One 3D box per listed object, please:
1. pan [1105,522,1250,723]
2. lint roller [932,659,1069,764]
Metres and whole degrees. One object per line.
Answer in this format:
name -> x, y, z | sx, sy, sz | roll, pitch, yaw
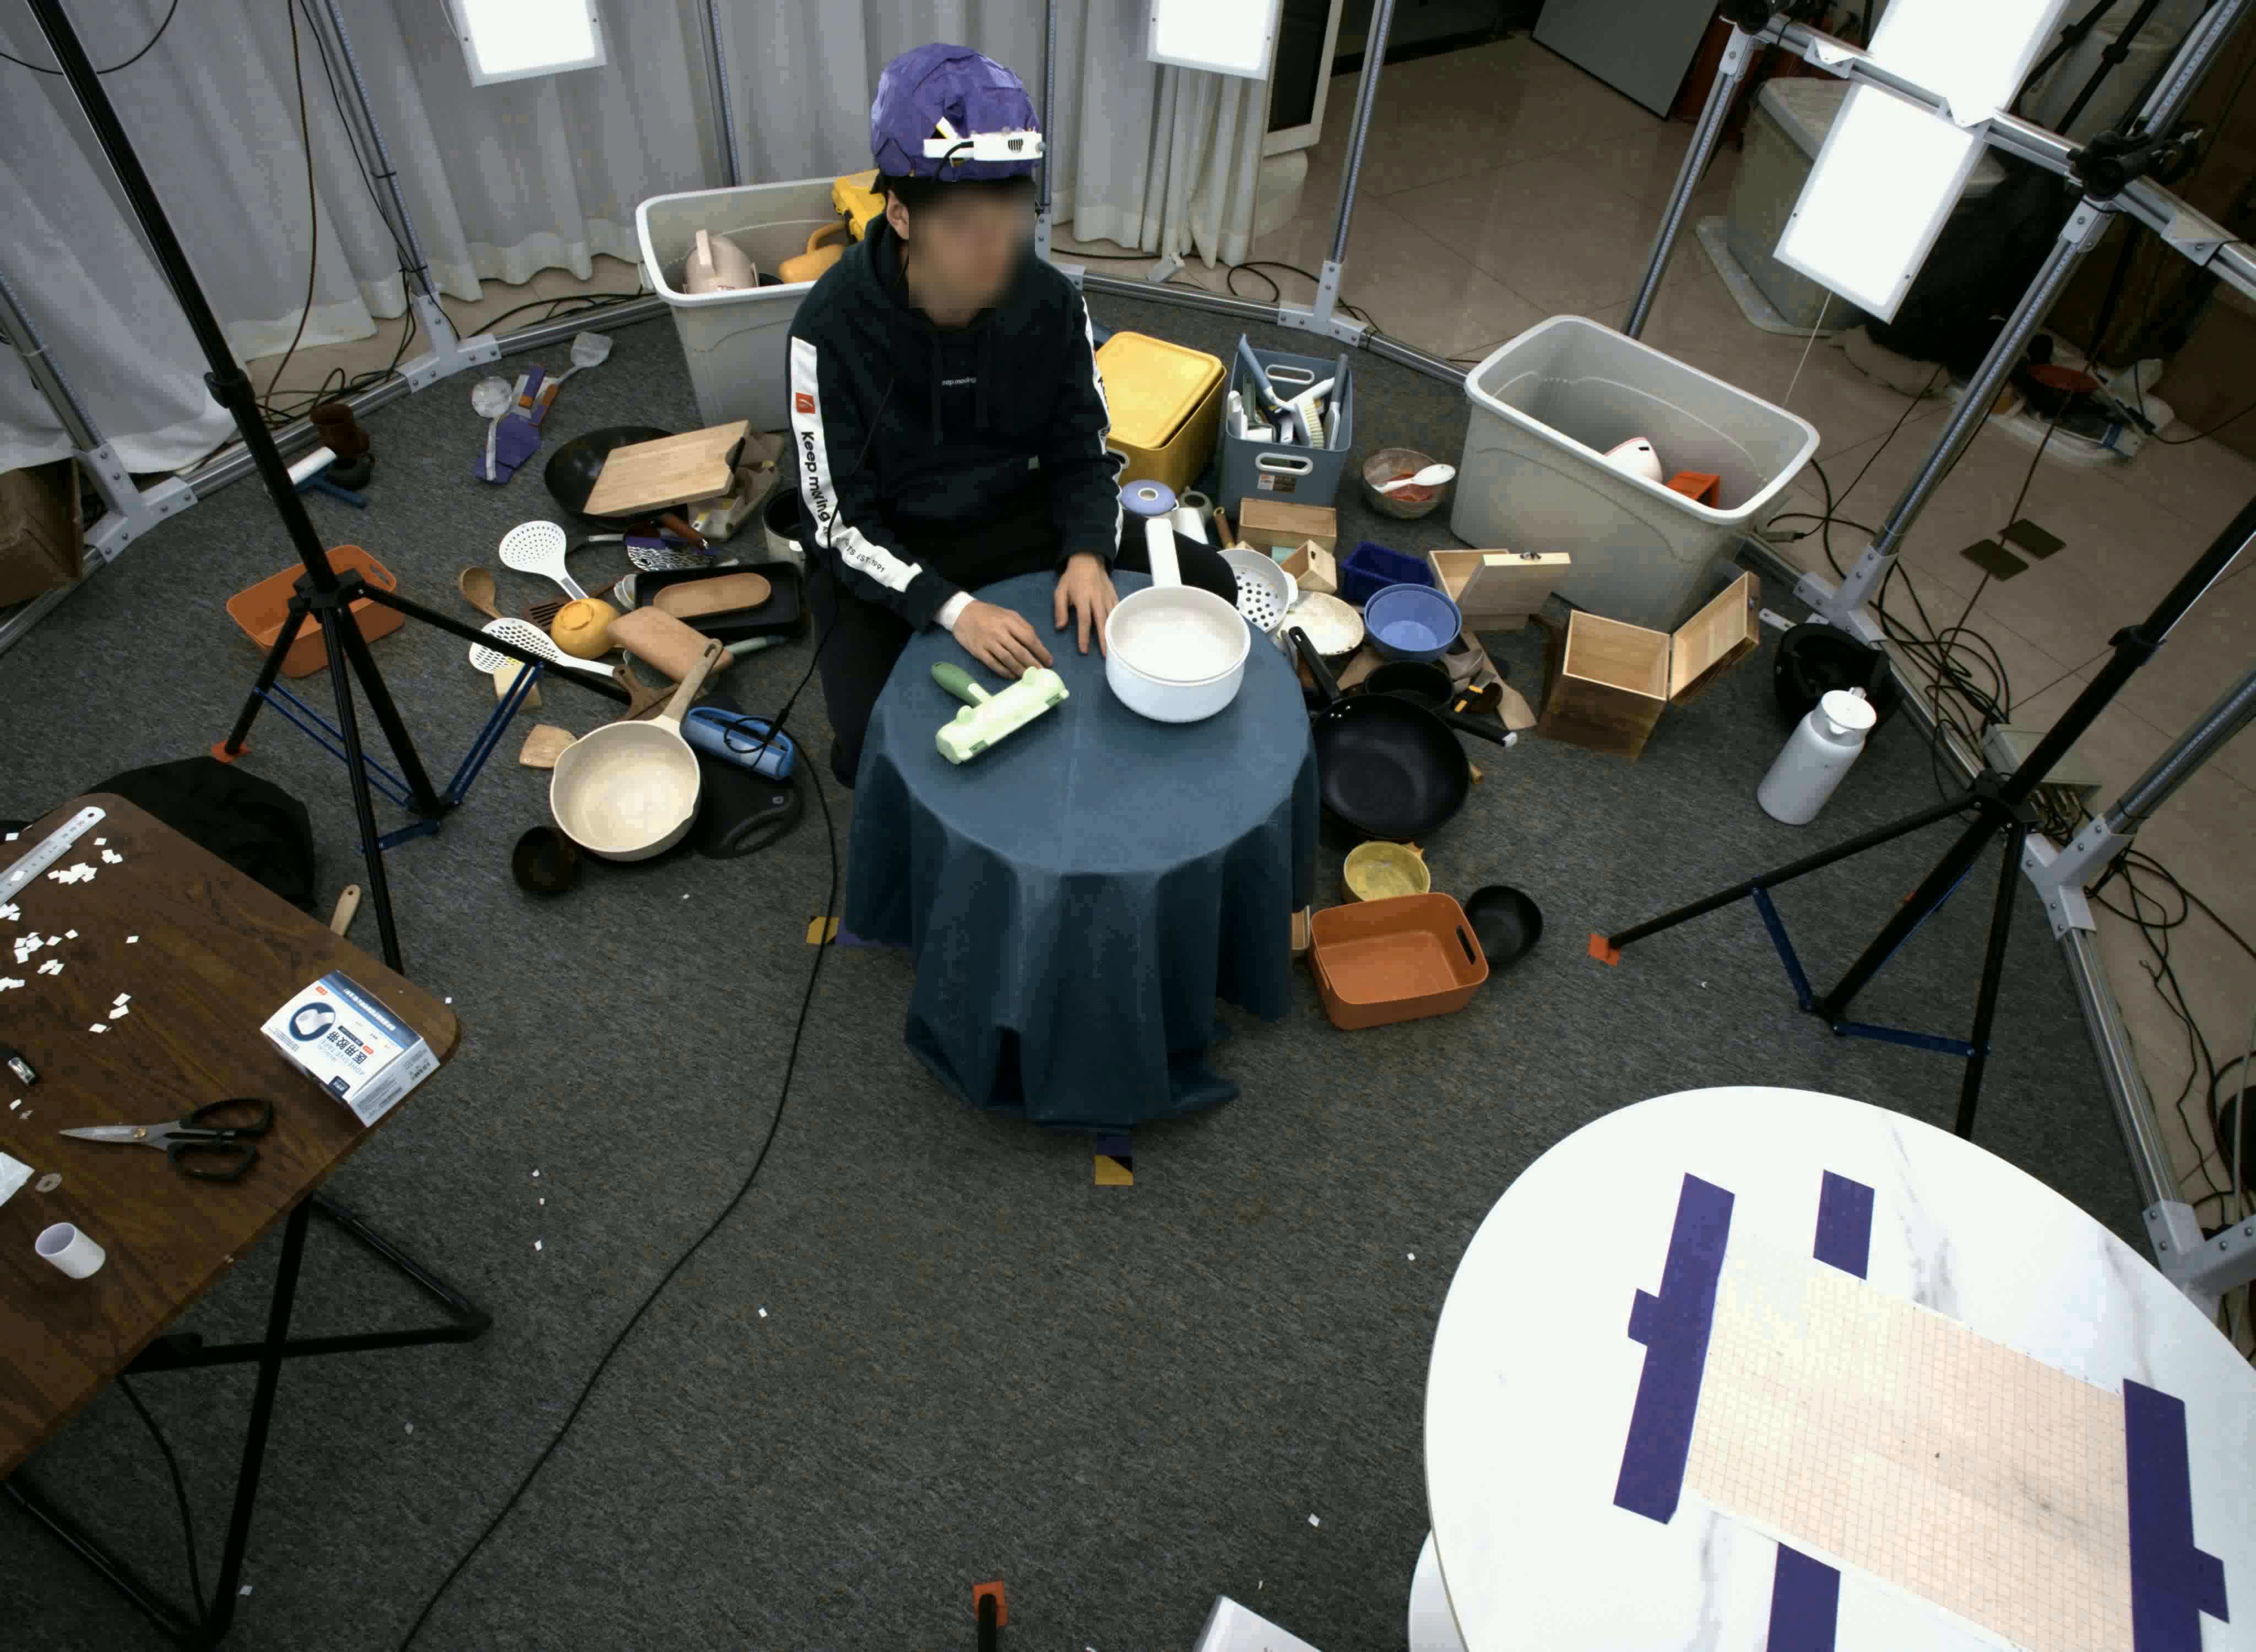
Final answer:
pan -> 0.061, -0.297, 1.867 | 0.201, 0.099, 0.364 | -2, 49, -4
lint roller -> -0.209, -0.191, 1.772 | 0.200, 0.080, 0.186 | -35, 64, -28
